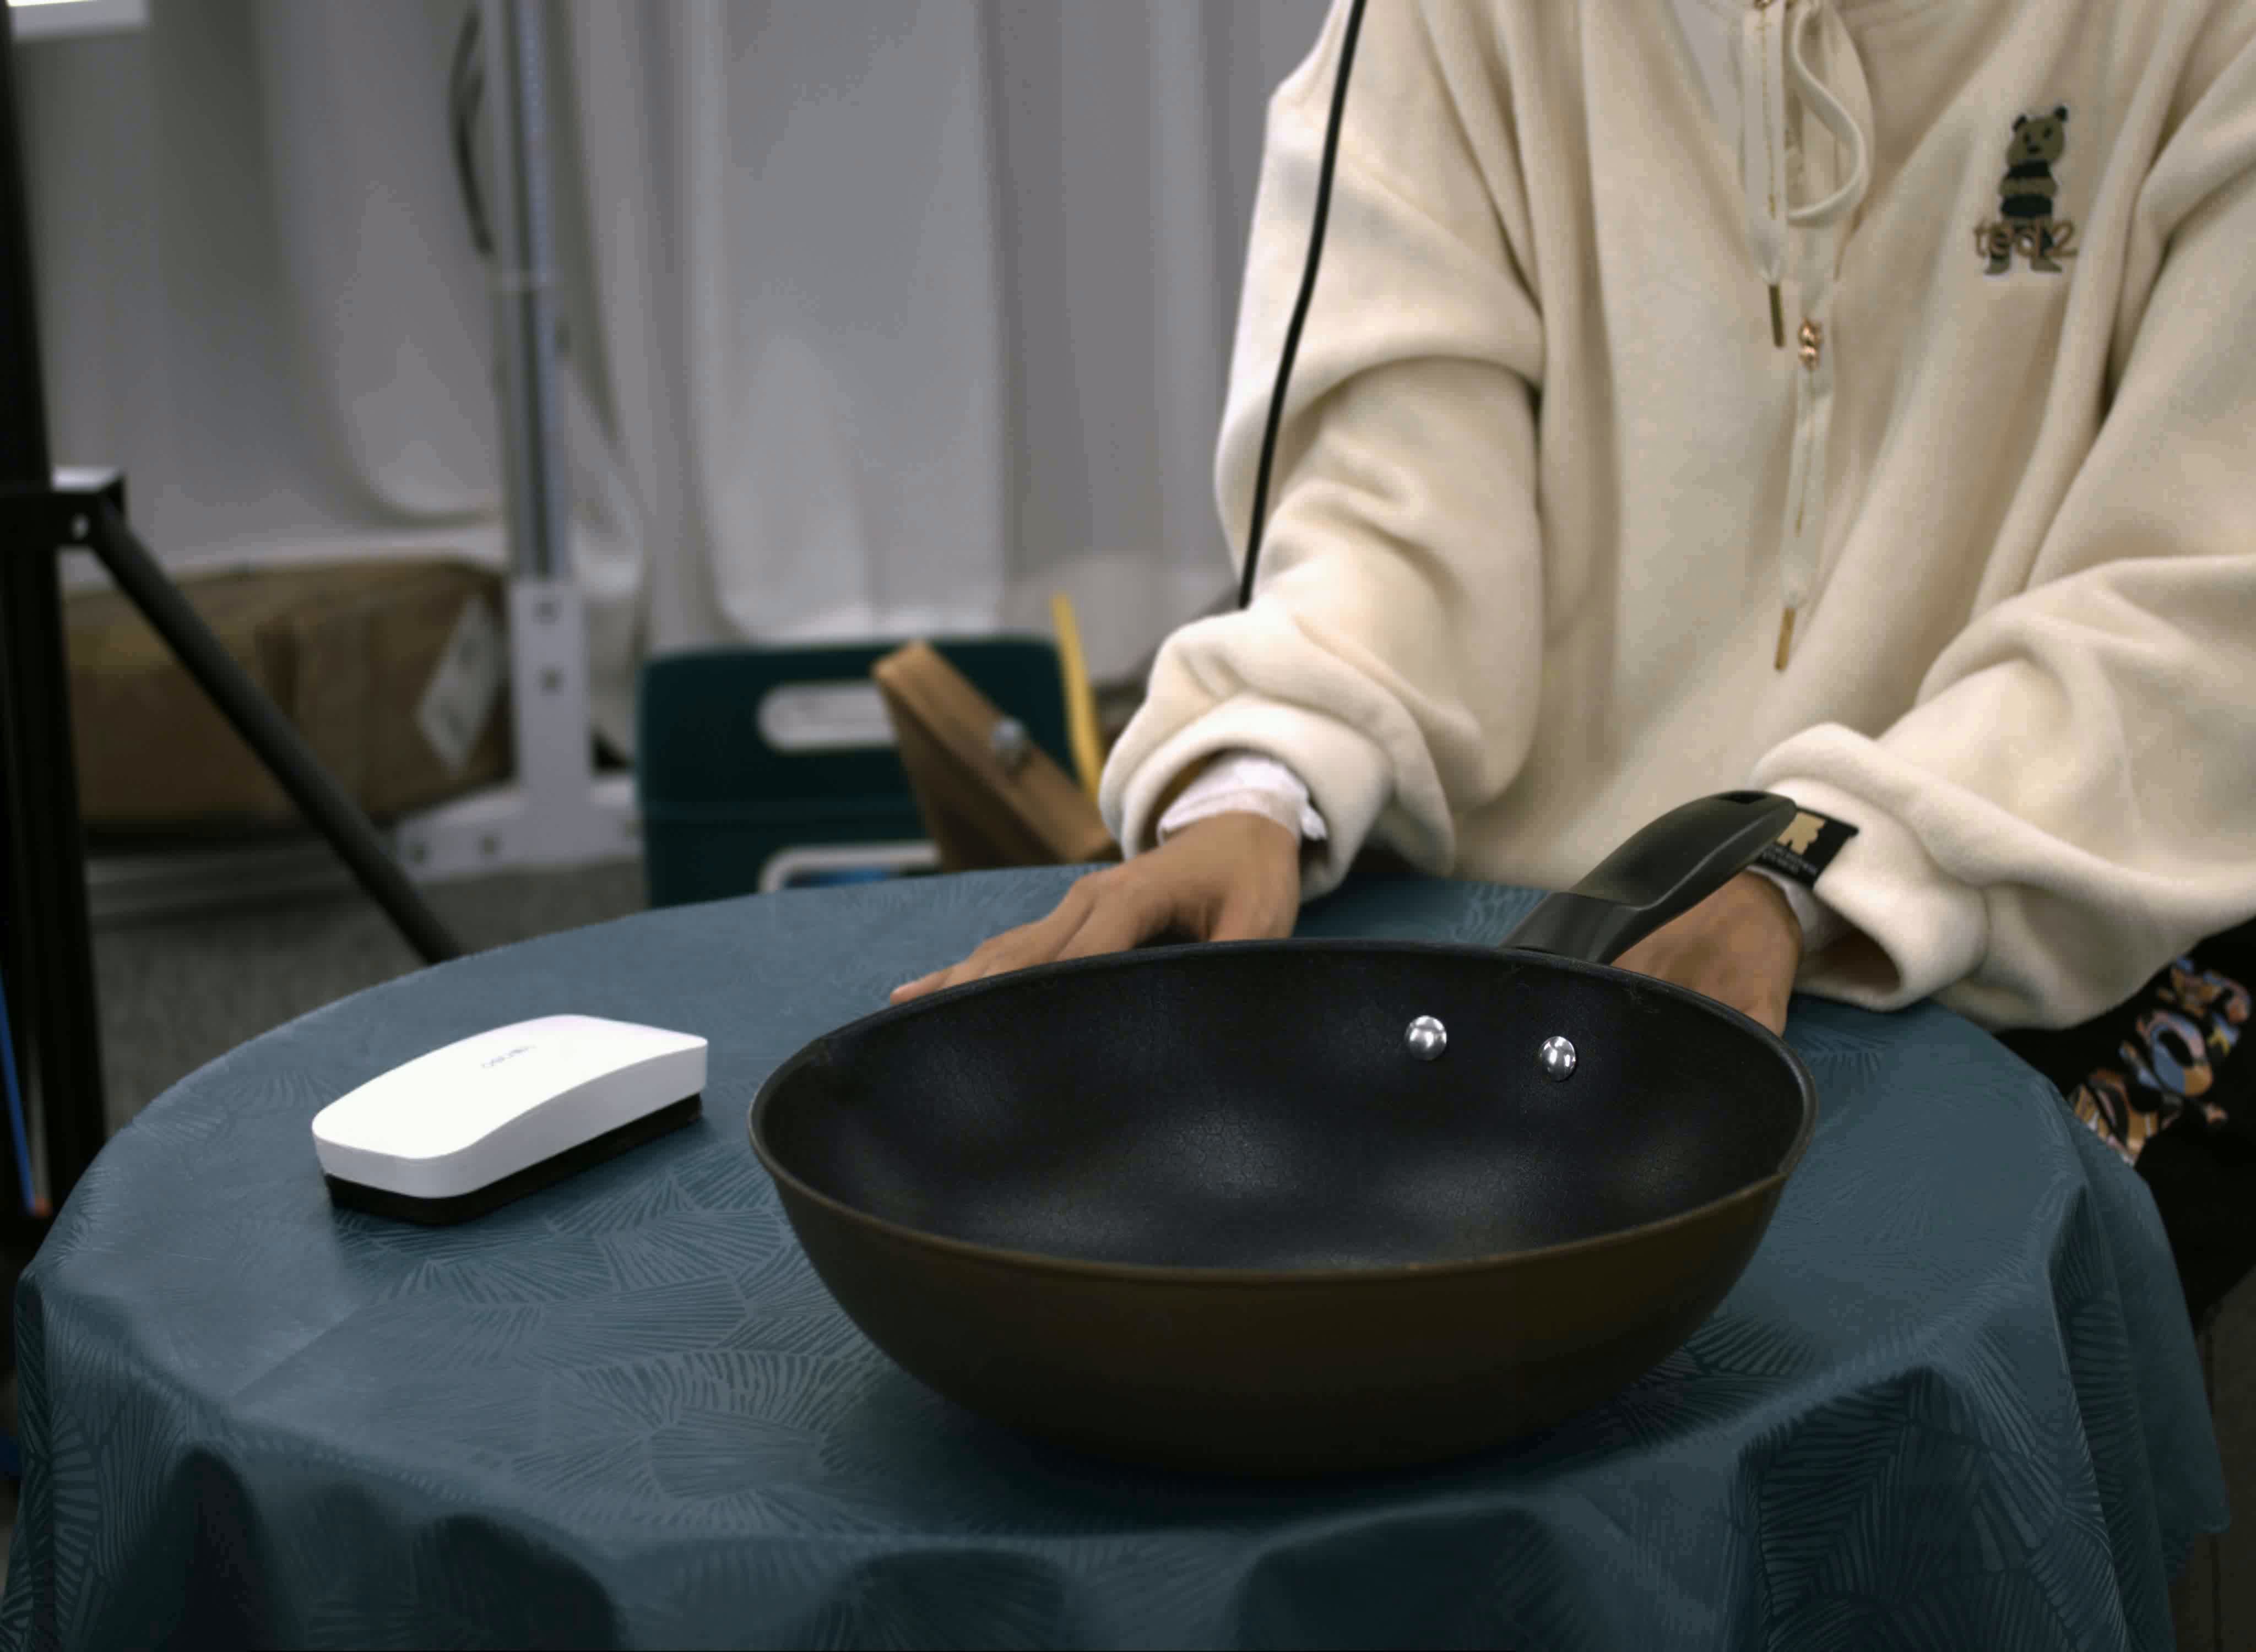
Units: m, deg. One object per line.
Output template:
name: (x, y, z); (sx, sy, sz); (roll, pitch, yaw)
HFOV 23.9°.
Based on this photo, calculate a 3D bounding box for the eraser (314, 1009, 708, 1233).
eraser: (-0.184, 0.086, 1.612); (0.065, 0.034, 0.128); (12, 22, 34)

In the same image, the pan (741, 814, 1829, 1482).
pan: (0.085, 0.085, 1.473); (0.293, 0.087, 0.455); (7, 17, 30)
